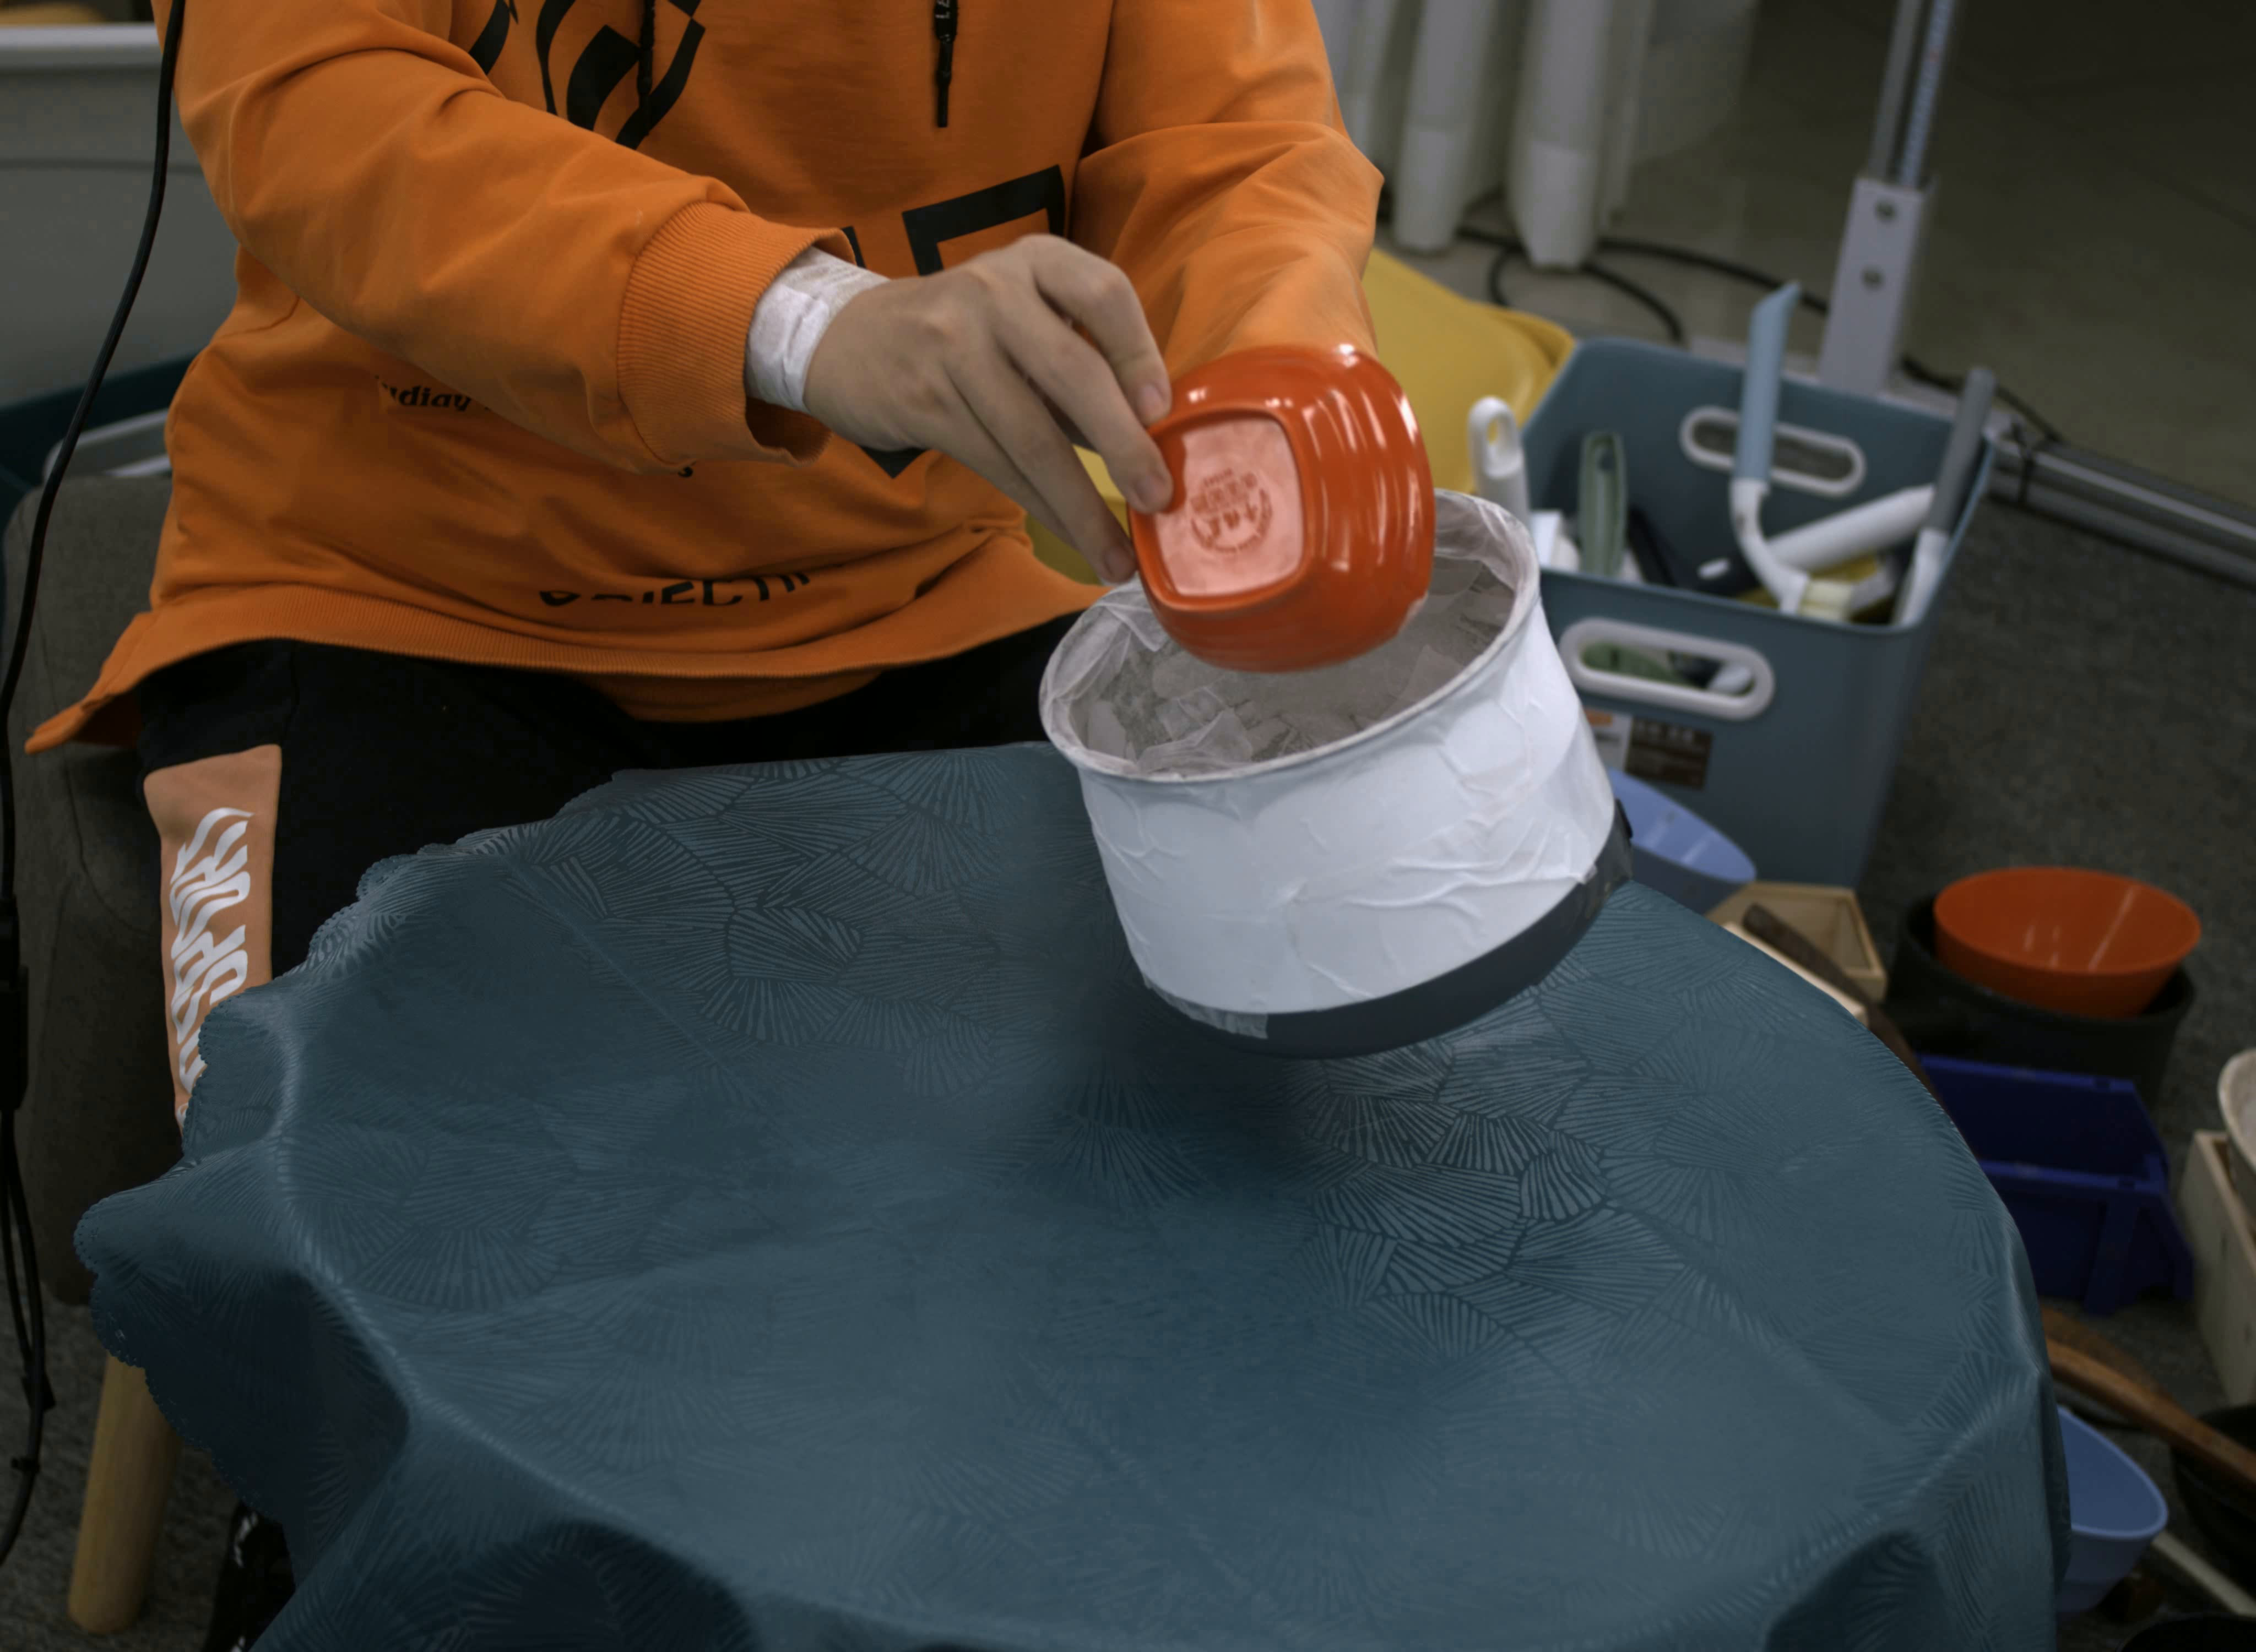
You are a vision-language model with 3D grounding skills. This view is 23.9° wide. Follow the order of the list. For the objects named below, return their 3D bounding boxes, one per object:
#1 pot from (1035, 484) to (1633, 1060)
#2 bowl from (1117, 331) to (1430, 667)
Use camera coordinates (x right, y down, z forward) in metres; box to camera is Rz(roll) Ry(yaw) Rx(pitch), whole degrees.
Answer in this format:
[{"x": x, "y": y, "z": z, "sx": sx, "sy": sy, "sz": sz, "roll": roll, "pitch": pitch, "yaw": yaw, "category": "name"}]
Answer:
[{"x": 0.068, "y": -0.029, "z": 1.842, "sx": 0.178, "sy": 0.136, "sz": 0.235, "roll": -19, "pitch": 29, "yaw": 3, "category": "pot"}, {"x": 0.039, "y": -0.107, "z": 1.748, "sx": 0.119, "sy": 0.119, "sz": 0.051, "roll": 22, "pitch": 13, "yaw": 27, "category": "bowl"}]
